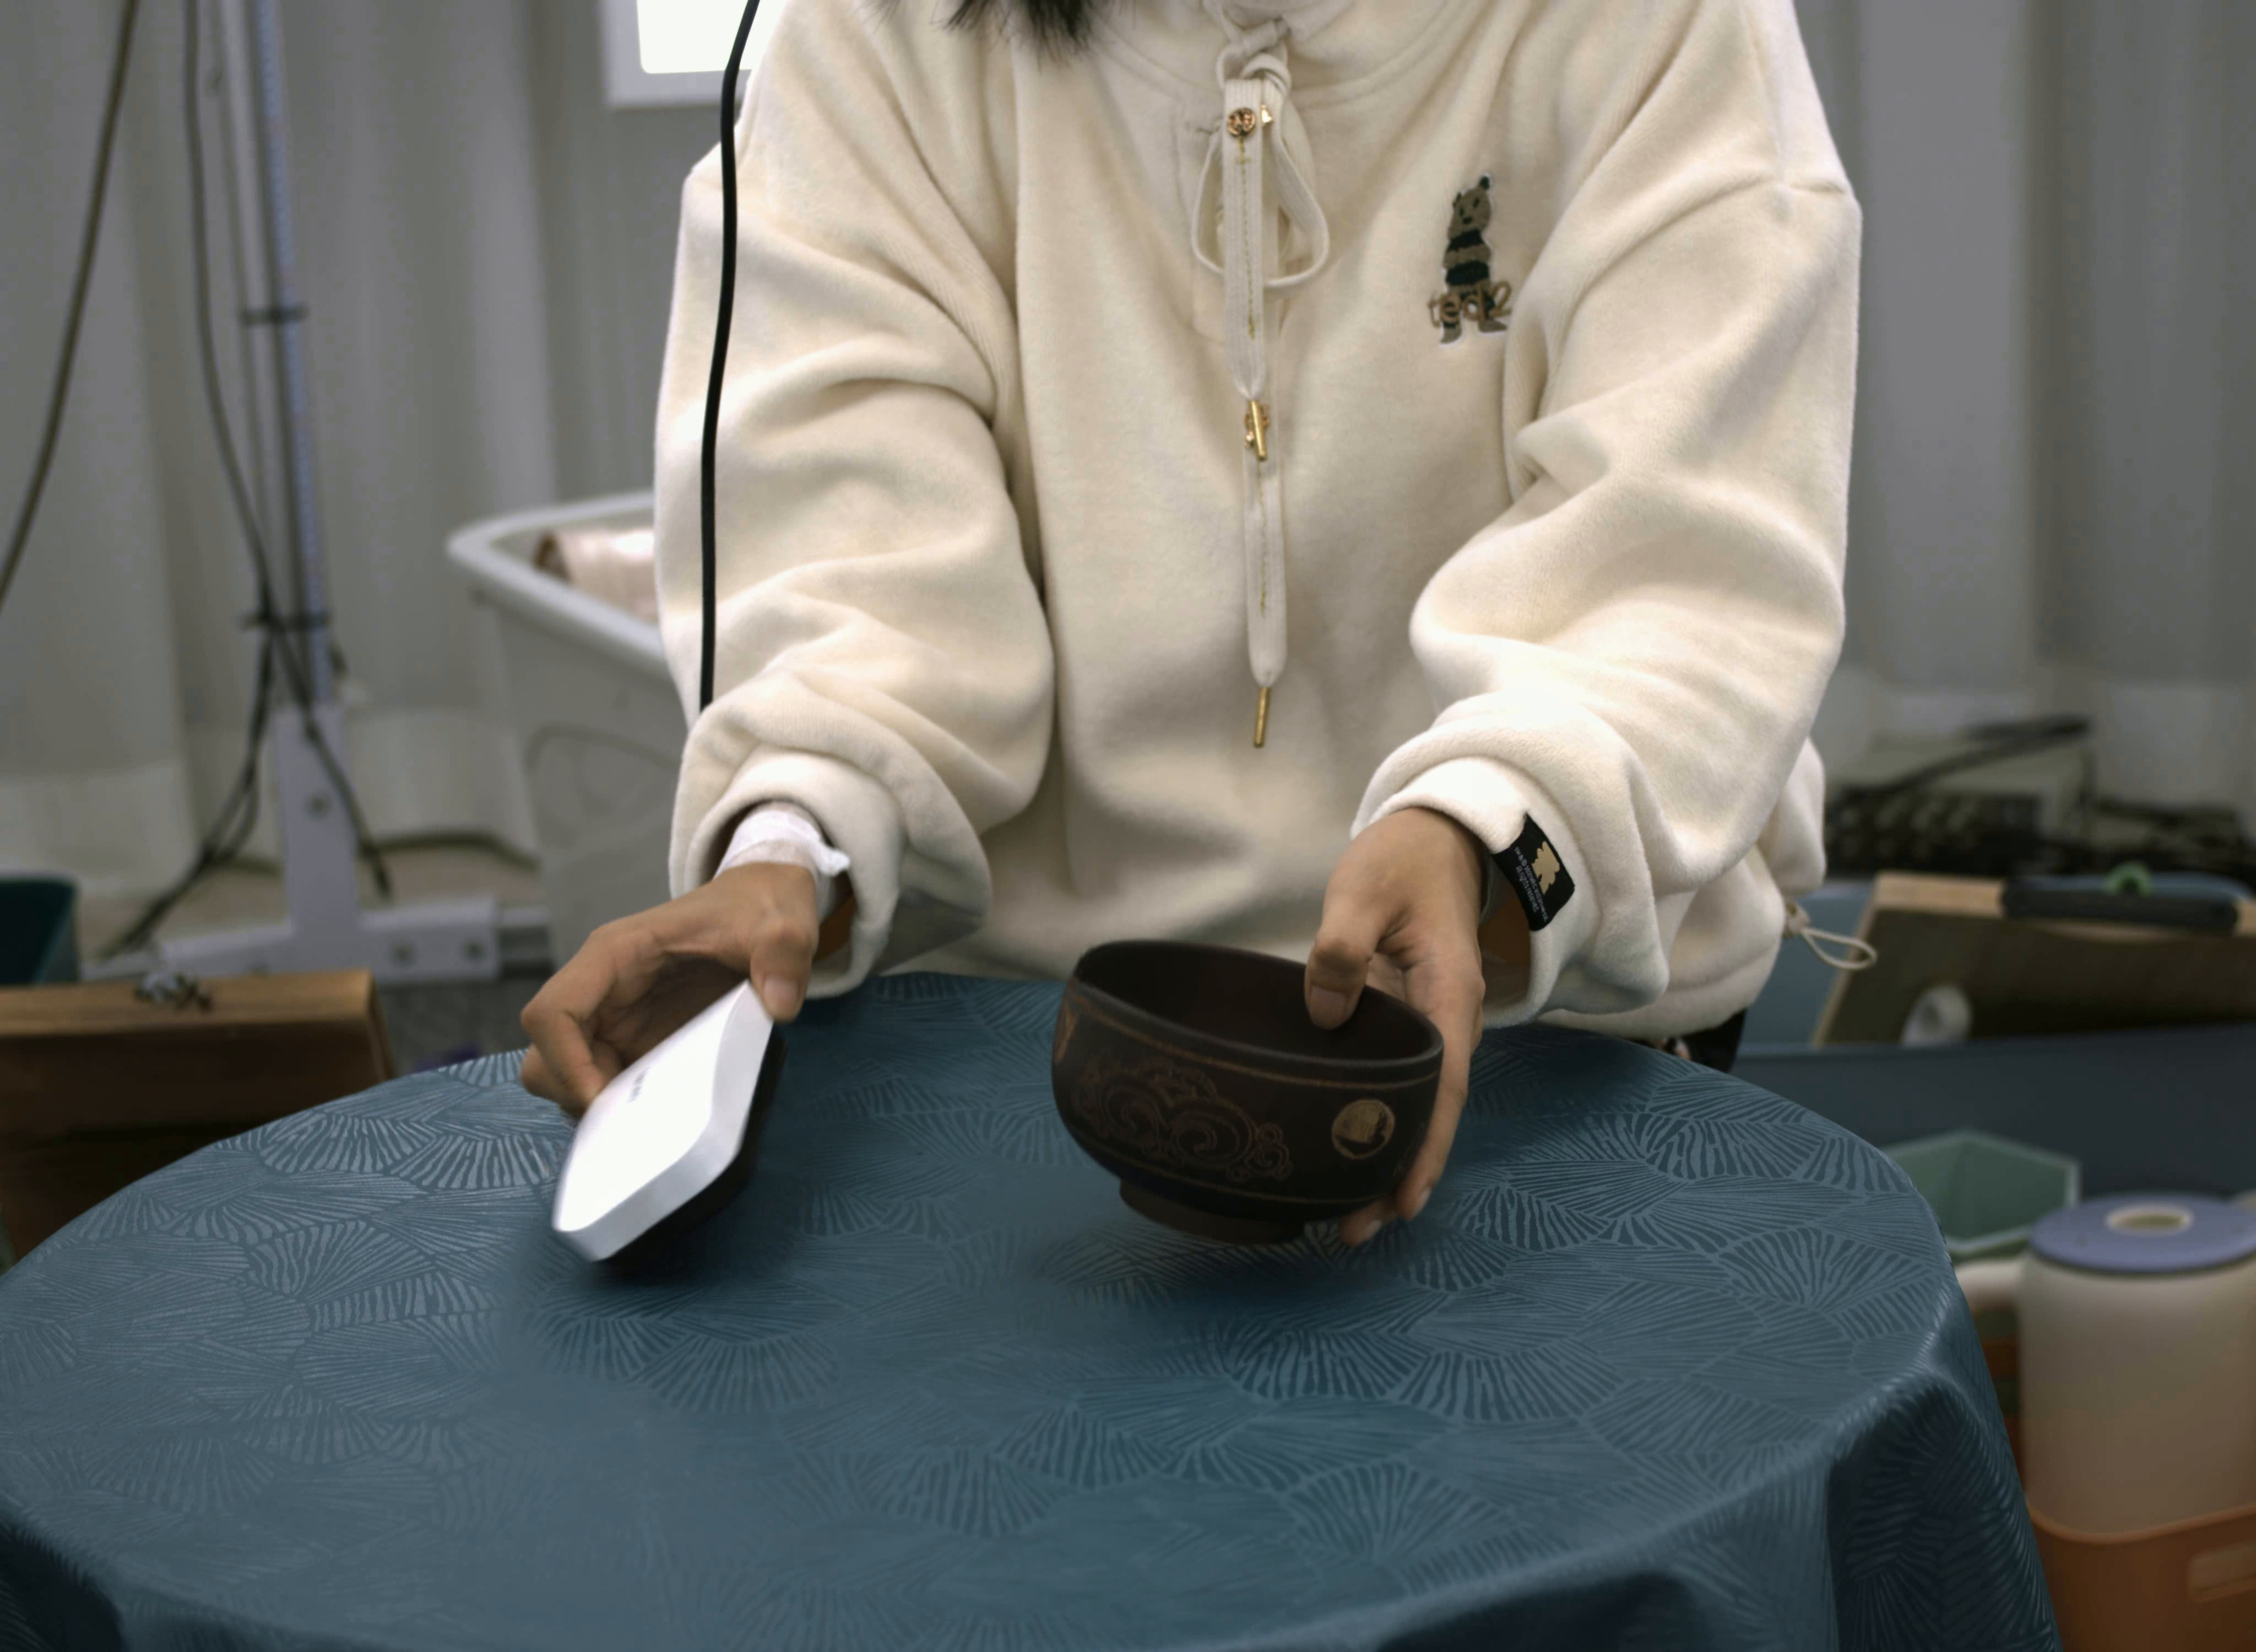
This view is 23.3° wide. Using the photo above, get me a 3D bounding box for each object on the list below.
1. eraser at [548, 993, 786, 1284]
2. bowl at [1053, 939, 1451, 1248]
[{"bbox_3d":[-0.142,0.093,1.698,0.063,0.034,0.132,-33,15,14],"label":"eraser"},{"bbox_3d":[0.033,0.084,1.639,0.117,0.070,0.118,14,12,-3],"label":"bowl"}]
